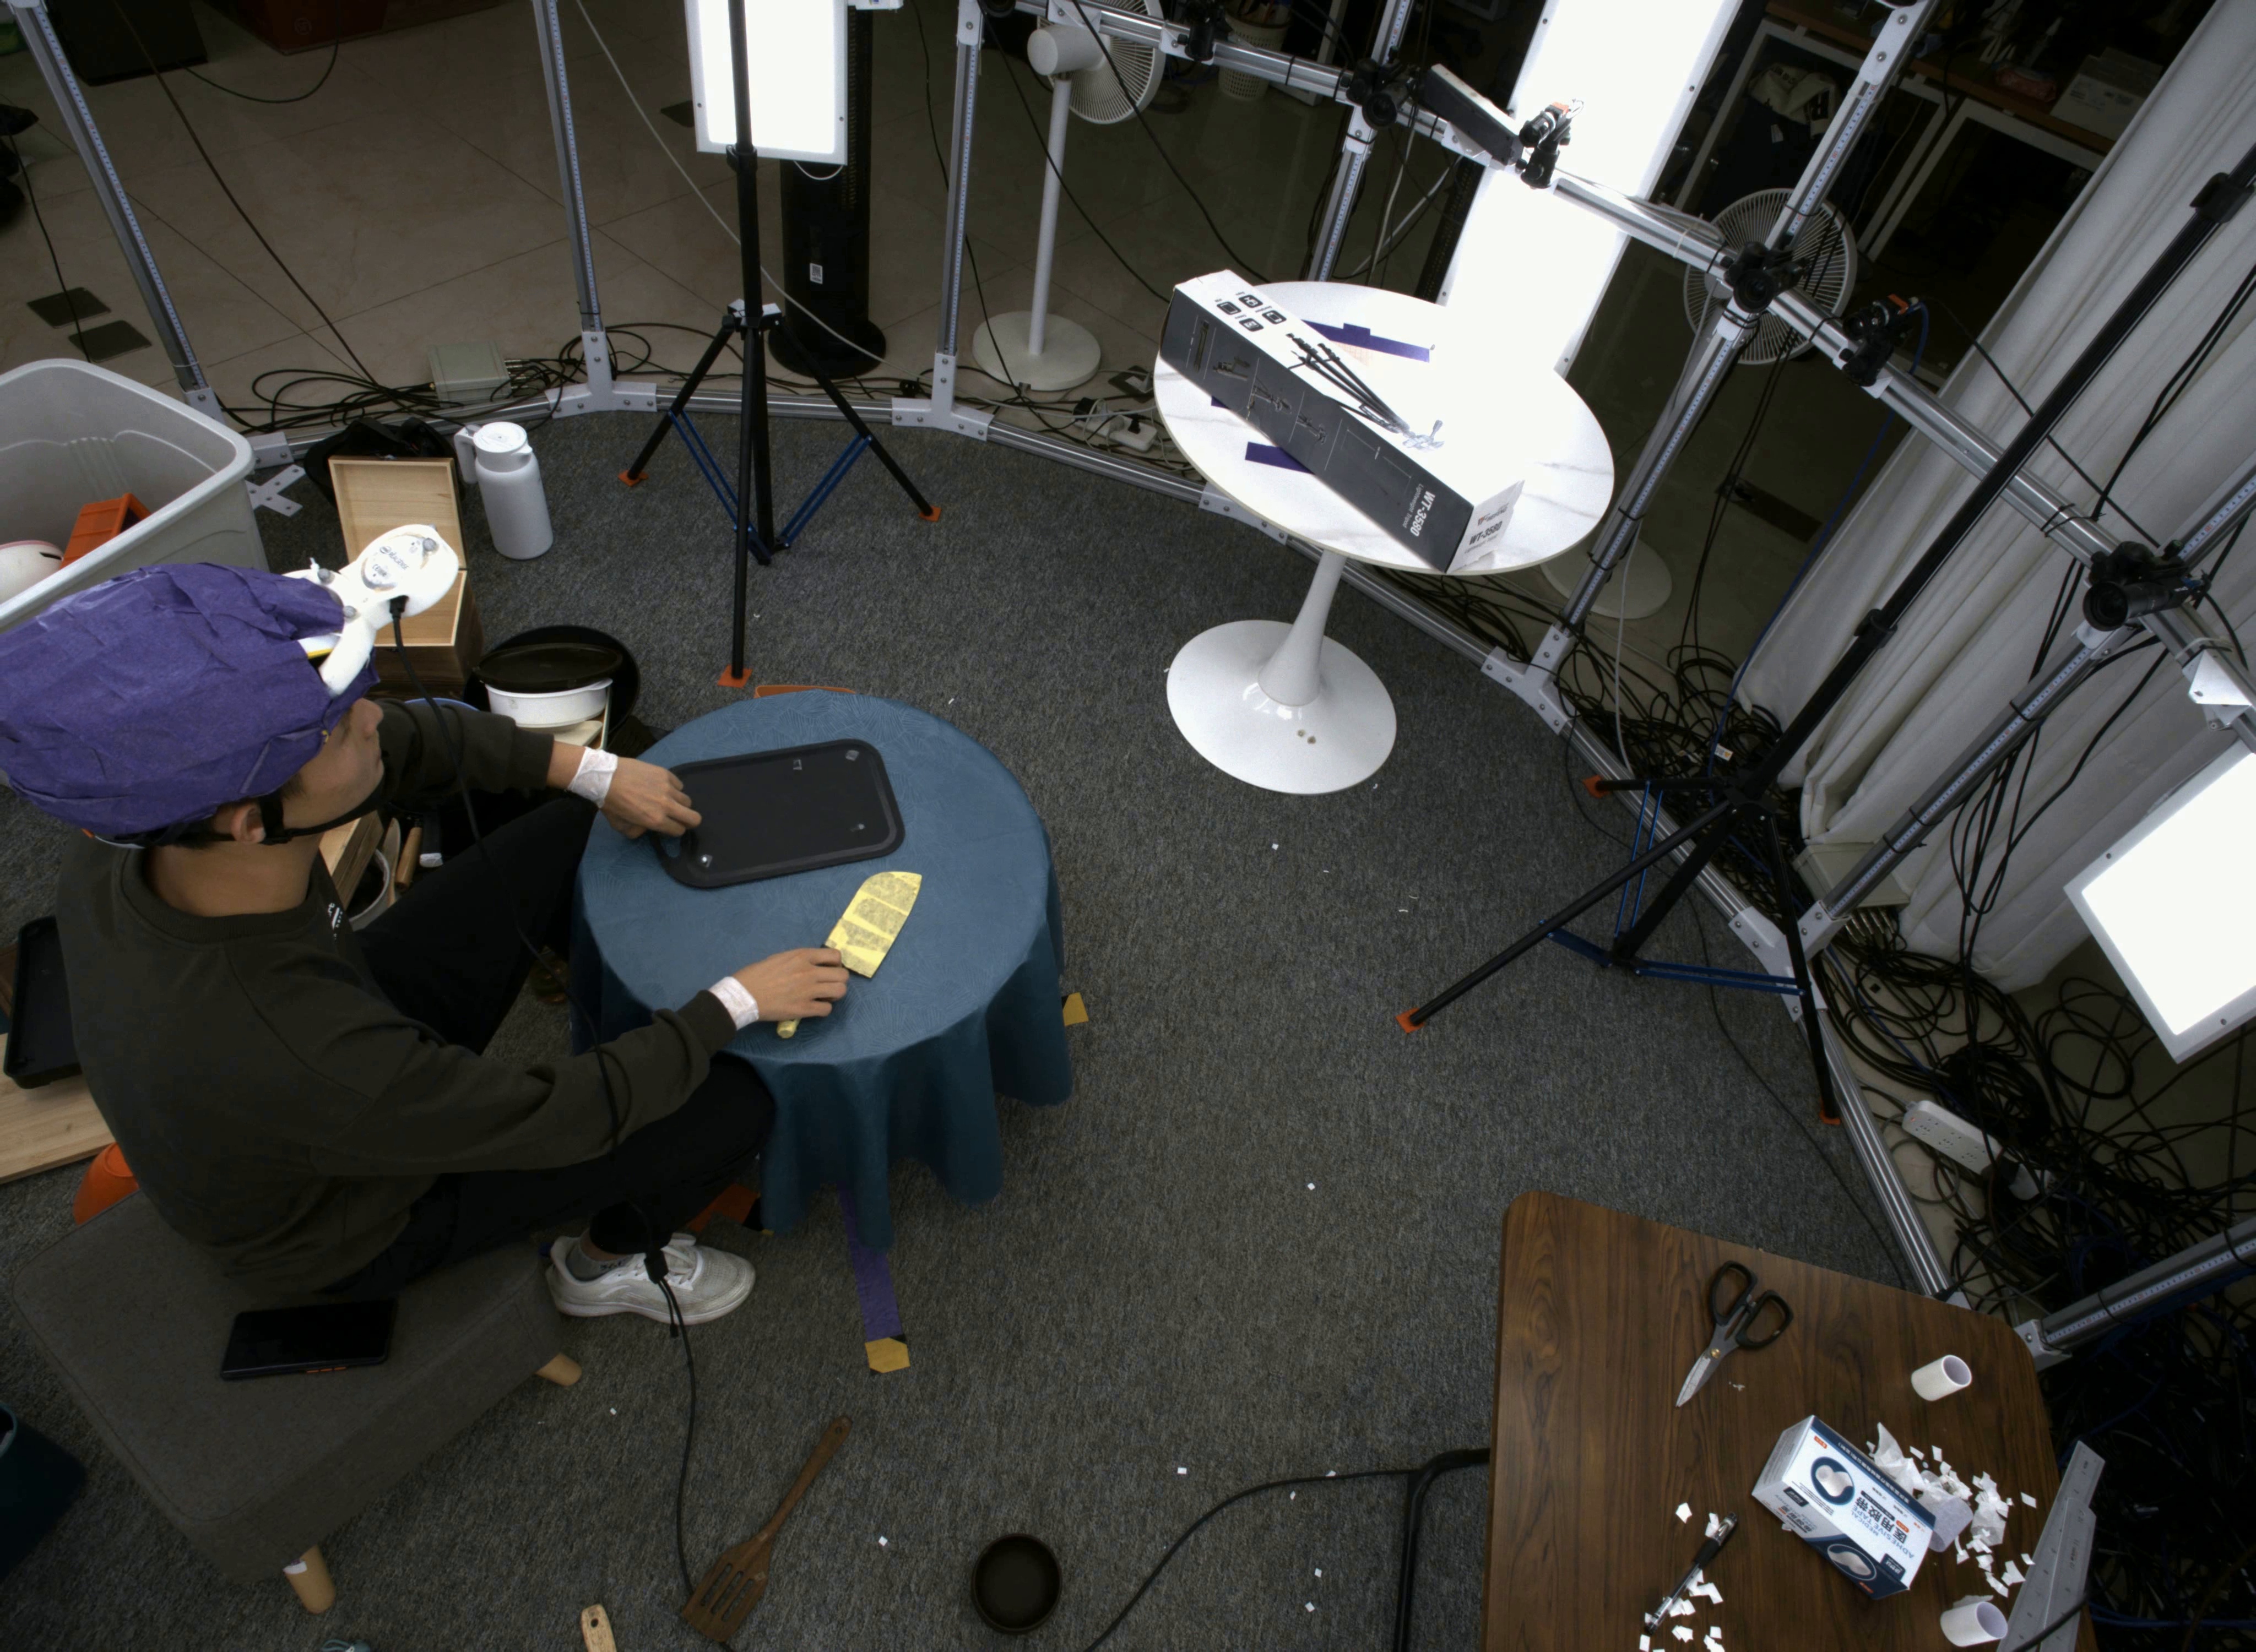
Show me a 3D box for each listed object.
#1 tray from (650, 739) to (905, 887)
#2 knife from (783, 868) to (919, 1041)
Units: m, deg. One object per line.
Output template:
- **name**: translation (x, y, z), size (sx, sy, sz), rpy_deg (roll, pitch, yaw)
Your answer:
- **tray**: translation (-0.472, -0.022, 1.732), size (0.327, 0.010, 0.206), rpy_deg (-10, 57, -22)
- **knife**: translation (-0.344, 0.155, 1.632), size (0.080, 0.027, 0.287), rpy_deg (28, 52, 2)
